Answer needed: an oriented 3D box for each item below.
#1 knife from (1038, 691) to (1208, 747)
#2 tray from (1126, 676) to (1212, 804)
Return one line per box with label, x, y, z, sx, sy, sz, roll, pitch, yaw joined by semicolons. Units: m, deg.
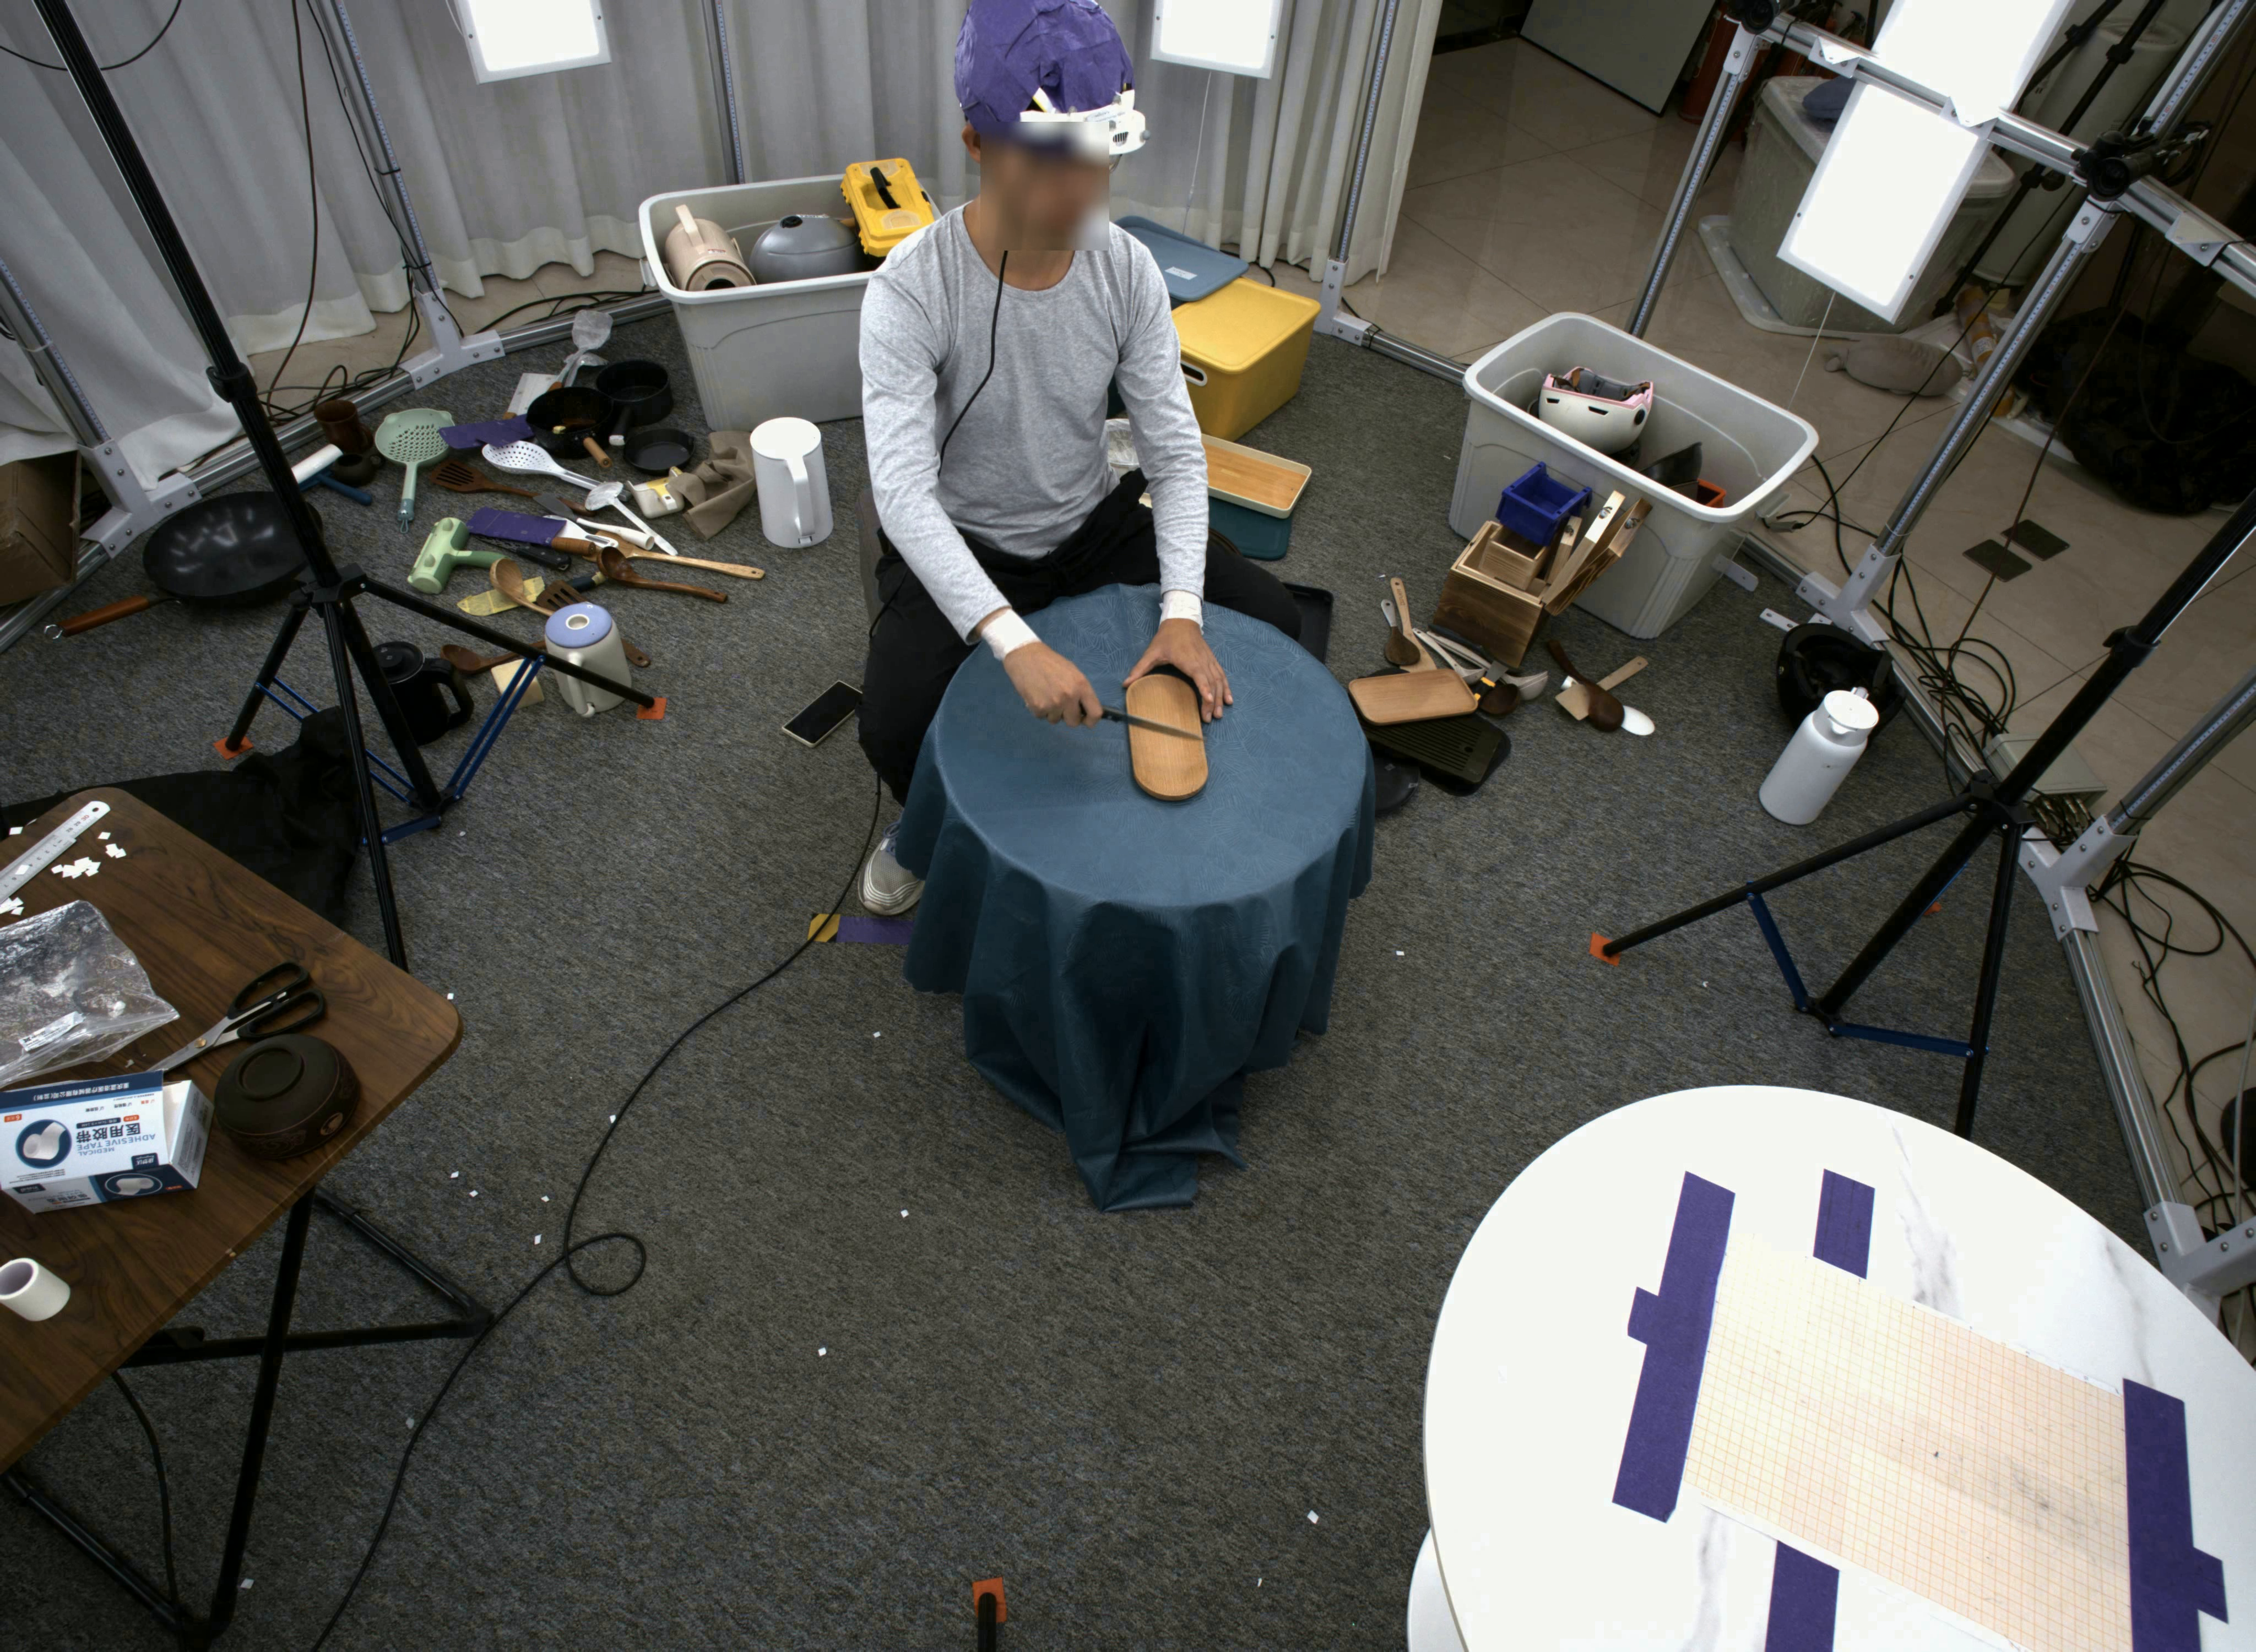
knife;-0.004;-0.140;1.700;0.237;0.024;0.017;16;56;-9
tray;0.055;-0.121;1.766;0.101;0.020;0.237;-4;51;-5
